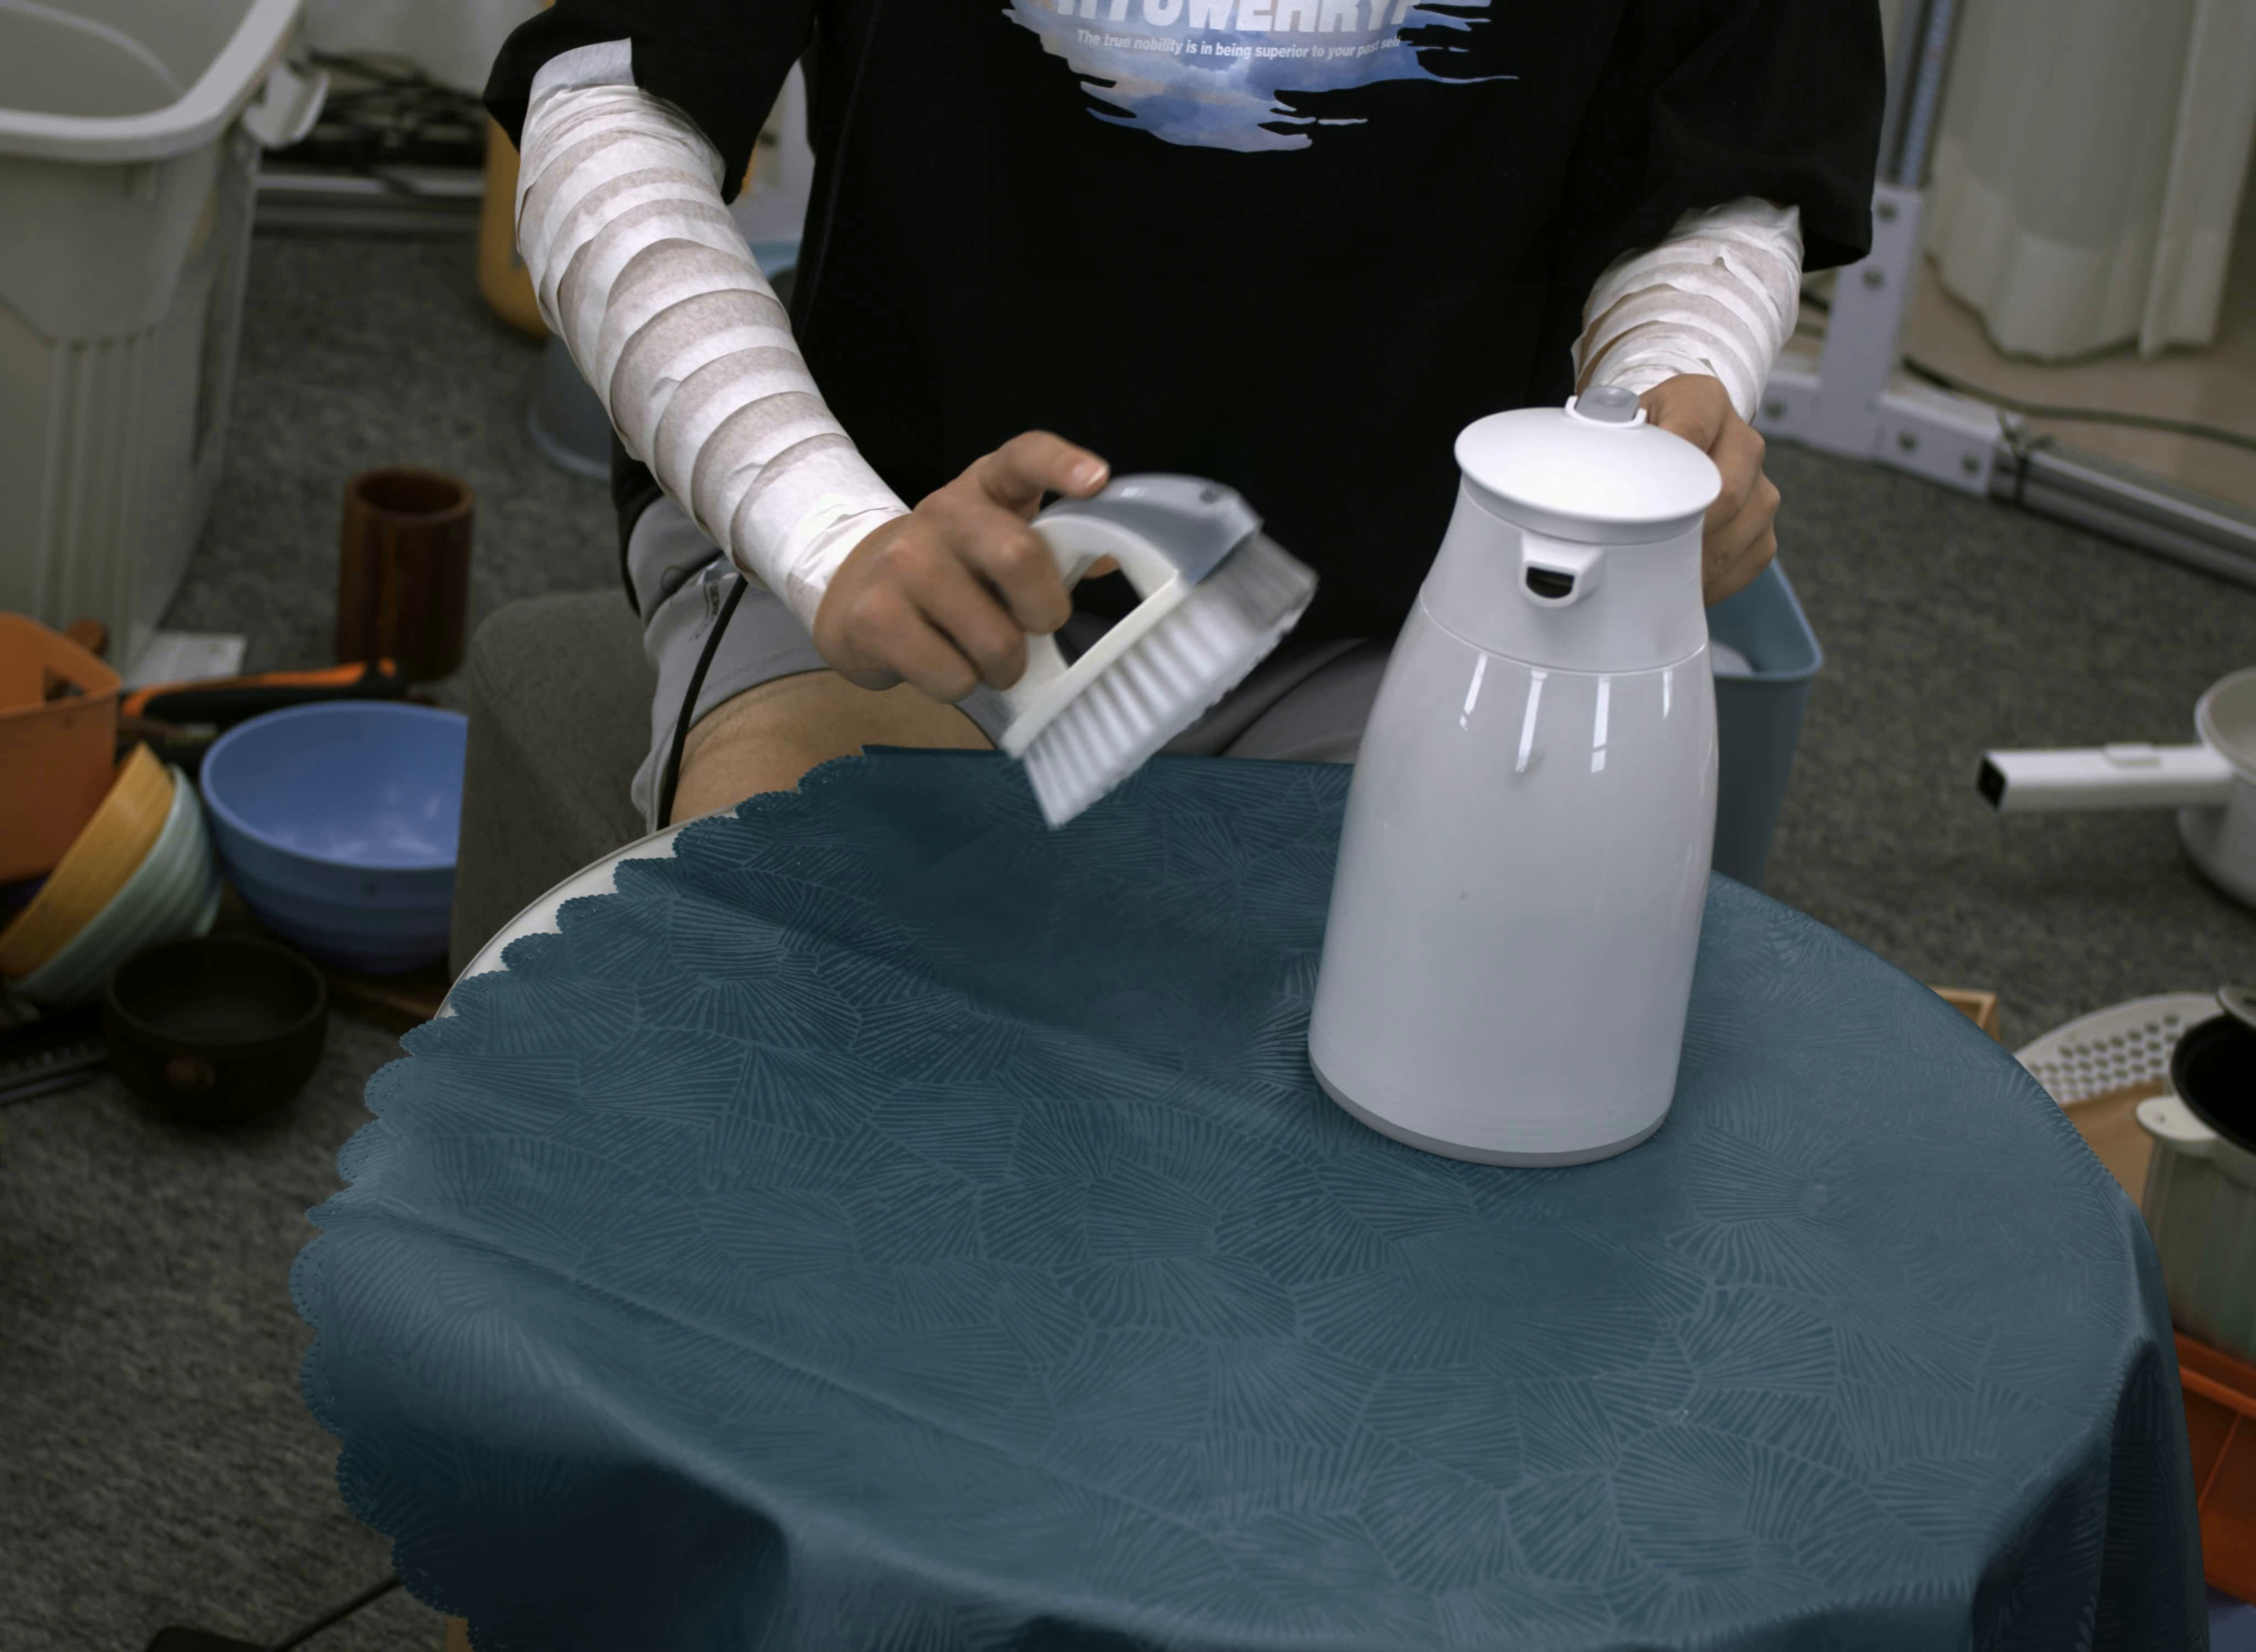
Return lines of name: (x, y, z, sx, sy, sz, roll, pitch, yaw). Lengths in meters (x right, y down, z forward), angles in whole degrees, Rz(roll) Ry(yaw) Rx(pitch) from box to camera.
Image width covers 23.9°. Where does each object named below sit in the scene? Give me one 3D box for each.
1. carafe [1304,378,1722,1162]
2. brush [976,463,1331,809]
carafe: (0.145, -0.030, 1.866, 0.132, 0.248, 0.168, 11, 26, 9)
brush: (0.003, -0.082, 1.852, 0.094, 0.175, 0.061, 50, 55, 1)
